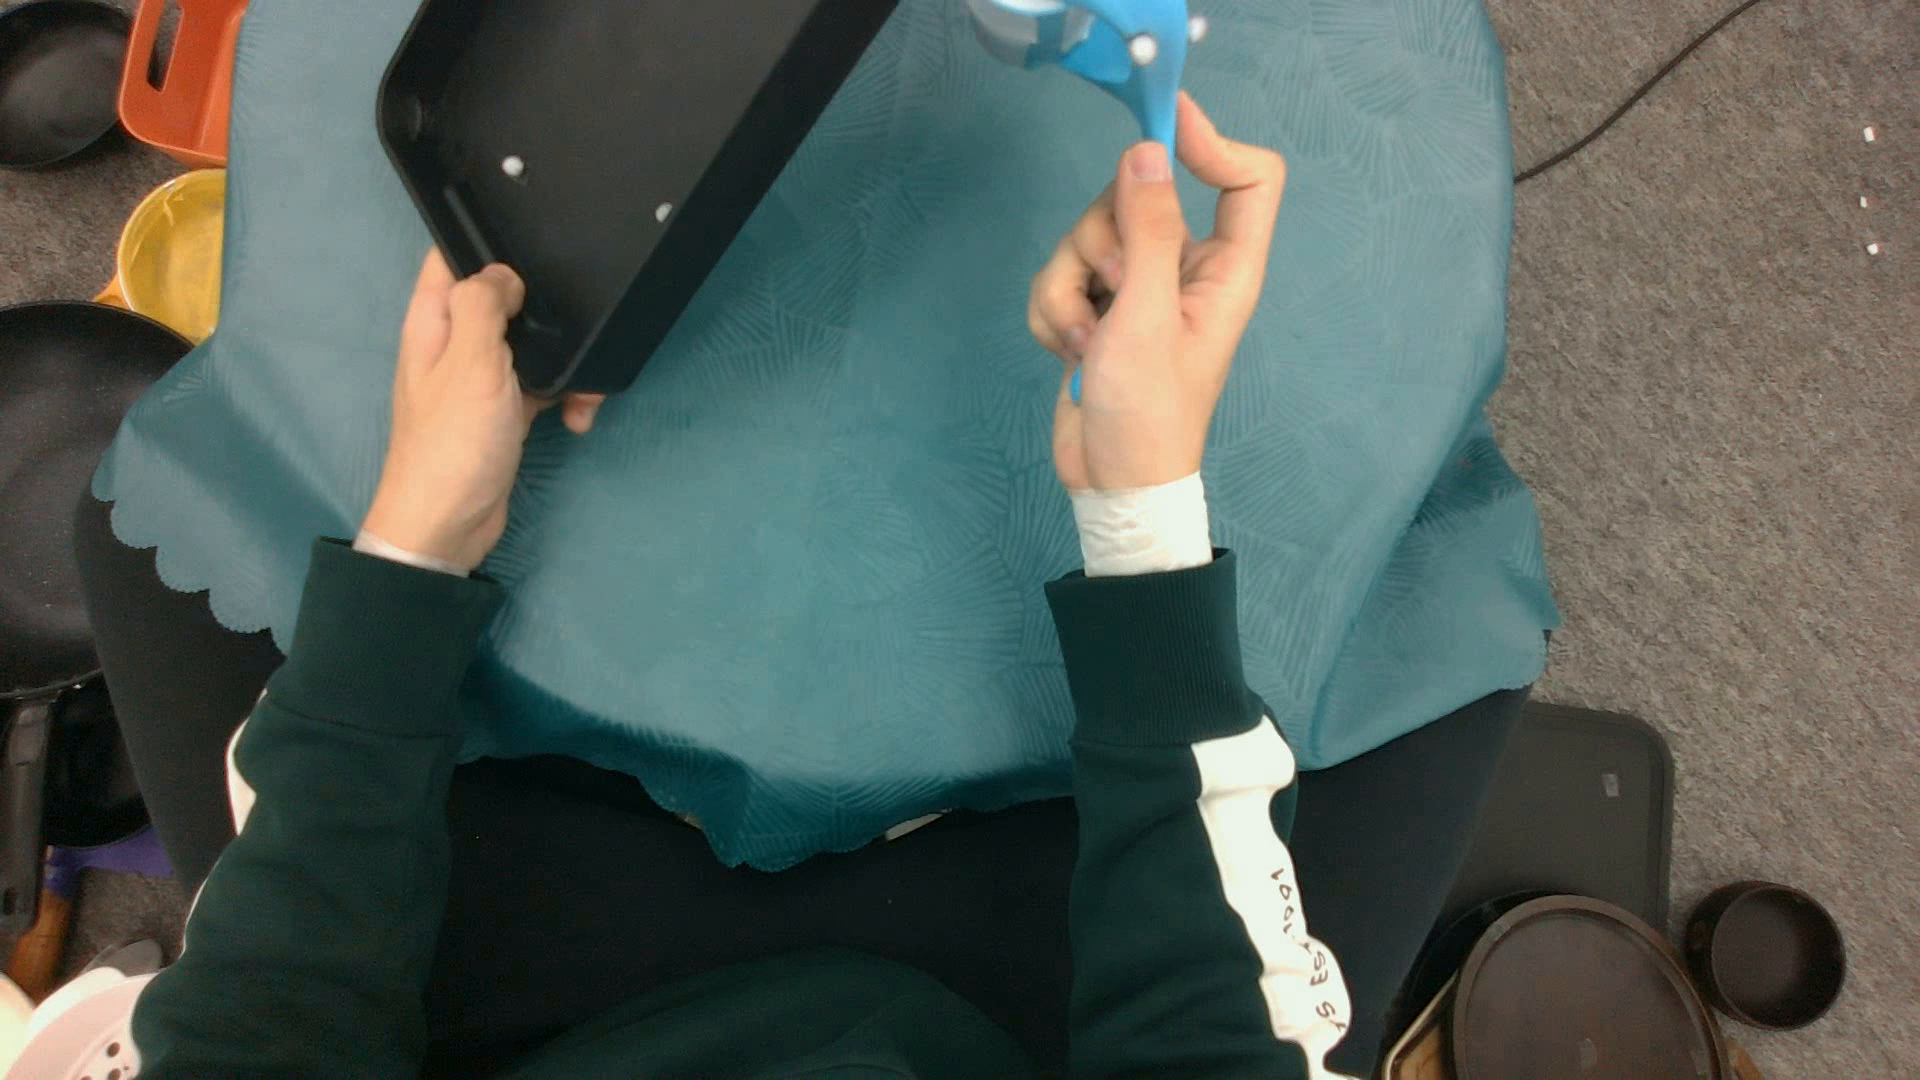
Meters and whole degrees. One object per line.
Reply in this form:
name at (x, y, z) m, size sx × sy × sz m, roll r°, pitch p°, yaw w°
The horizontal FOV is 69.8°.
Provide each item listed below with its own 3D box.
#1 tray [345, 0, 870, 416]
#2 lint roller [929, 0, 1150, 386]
tray at (-0.122, -0.214, 0.518) m, size 0.316 × 0.037 × 0.184 m, roll -48°, pitch 66°, yaw 26°
lint roller at (0.034, -0.151, 0.501) m, size 0.068 × 0.229 × 0.180 m, roll -19°, pitch 106°, yaw 4°
